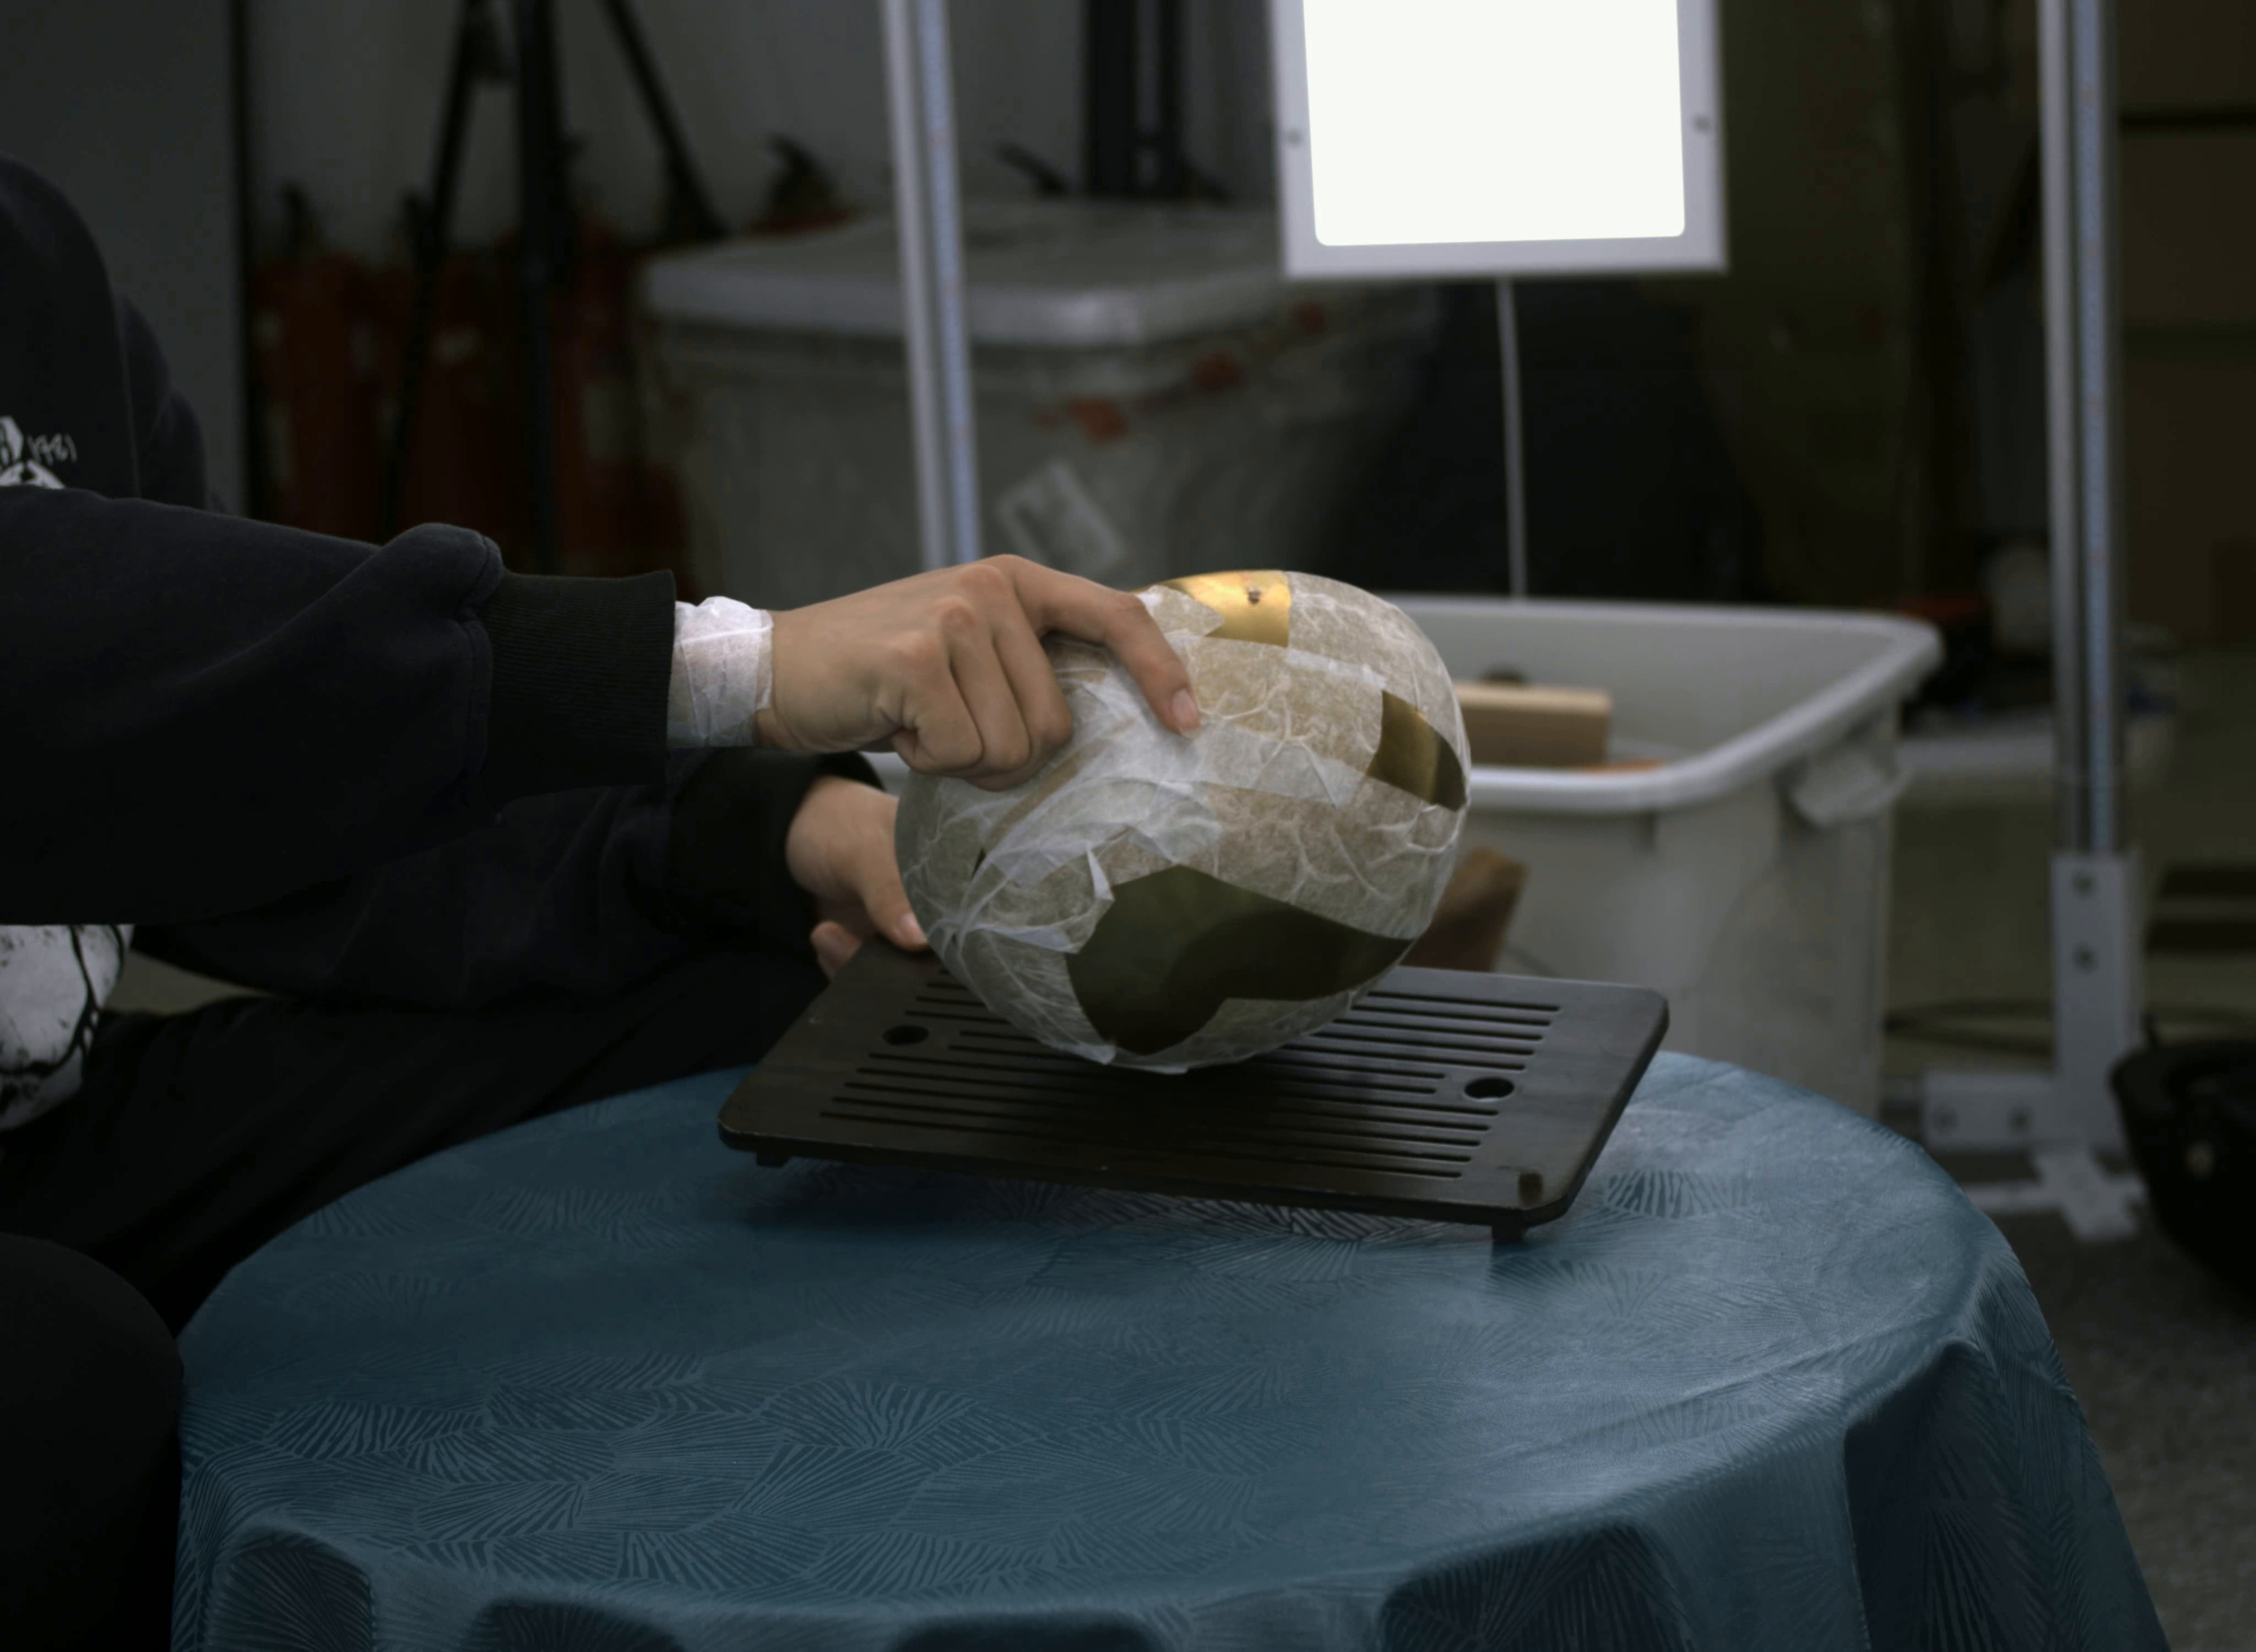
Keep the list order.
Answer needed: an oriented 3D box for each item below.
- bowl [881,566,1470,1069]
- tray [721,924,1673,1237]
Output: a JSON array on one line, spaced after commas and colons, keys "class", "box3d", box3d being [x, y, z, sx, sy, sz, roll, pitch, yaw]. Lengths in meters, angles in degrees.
[{"class": "bowl", "box3d": [0.026, 0.017, 1.863, 0.212, 0.216, 0.095, -7, 49, -14]}, {"class": "tray", "box3d": [0.026, 0.087, 1.923, 0.310, 0.019, 0.167, 4, 26, 21]}]
